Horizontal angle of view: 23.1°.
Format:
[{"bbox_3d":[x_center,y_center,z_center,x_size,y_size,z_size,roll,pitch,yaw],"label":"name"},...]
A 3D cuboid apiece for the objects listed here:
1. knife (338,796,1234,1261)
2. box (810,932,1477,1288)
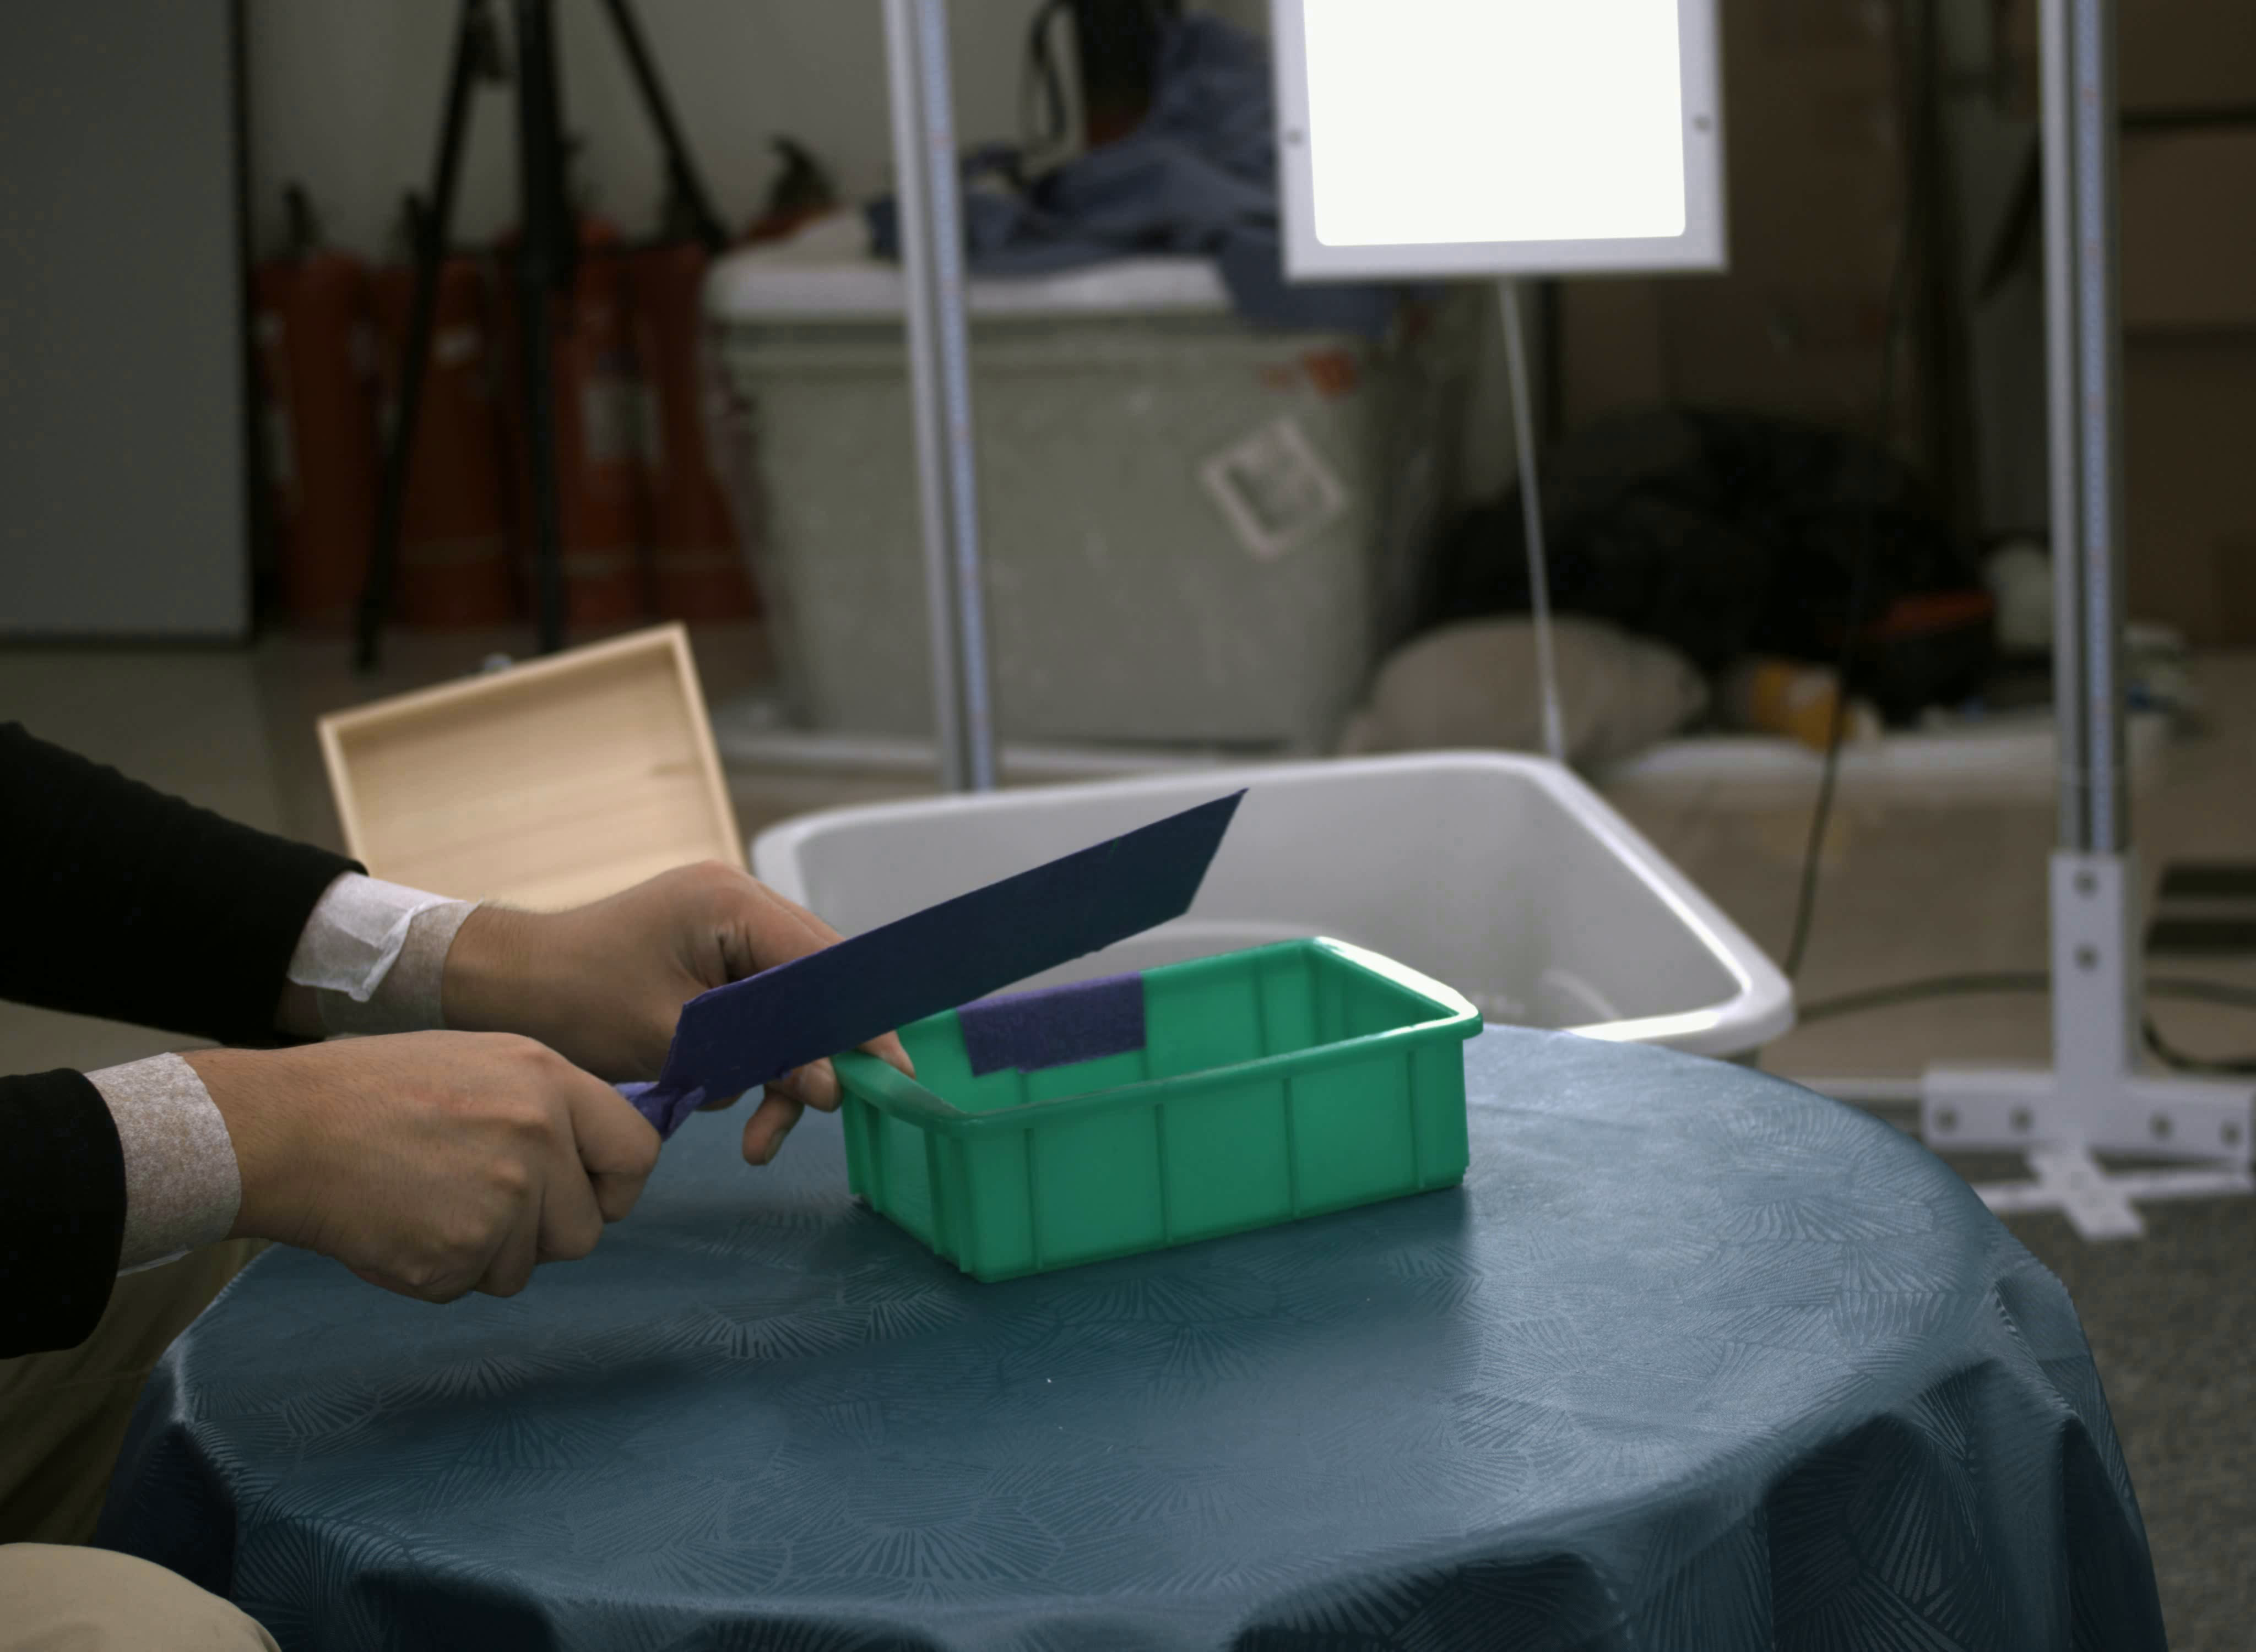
[{"bbox_3d":[-0.107,0.057,1.780,0.309,0.032,0.105,-23,-21,-23],"label":"knife"},{"bbox_3d":[0.007,0.097,1.887,0.206,0.065,0.141,-12,14,-21],"label":"box"}]
